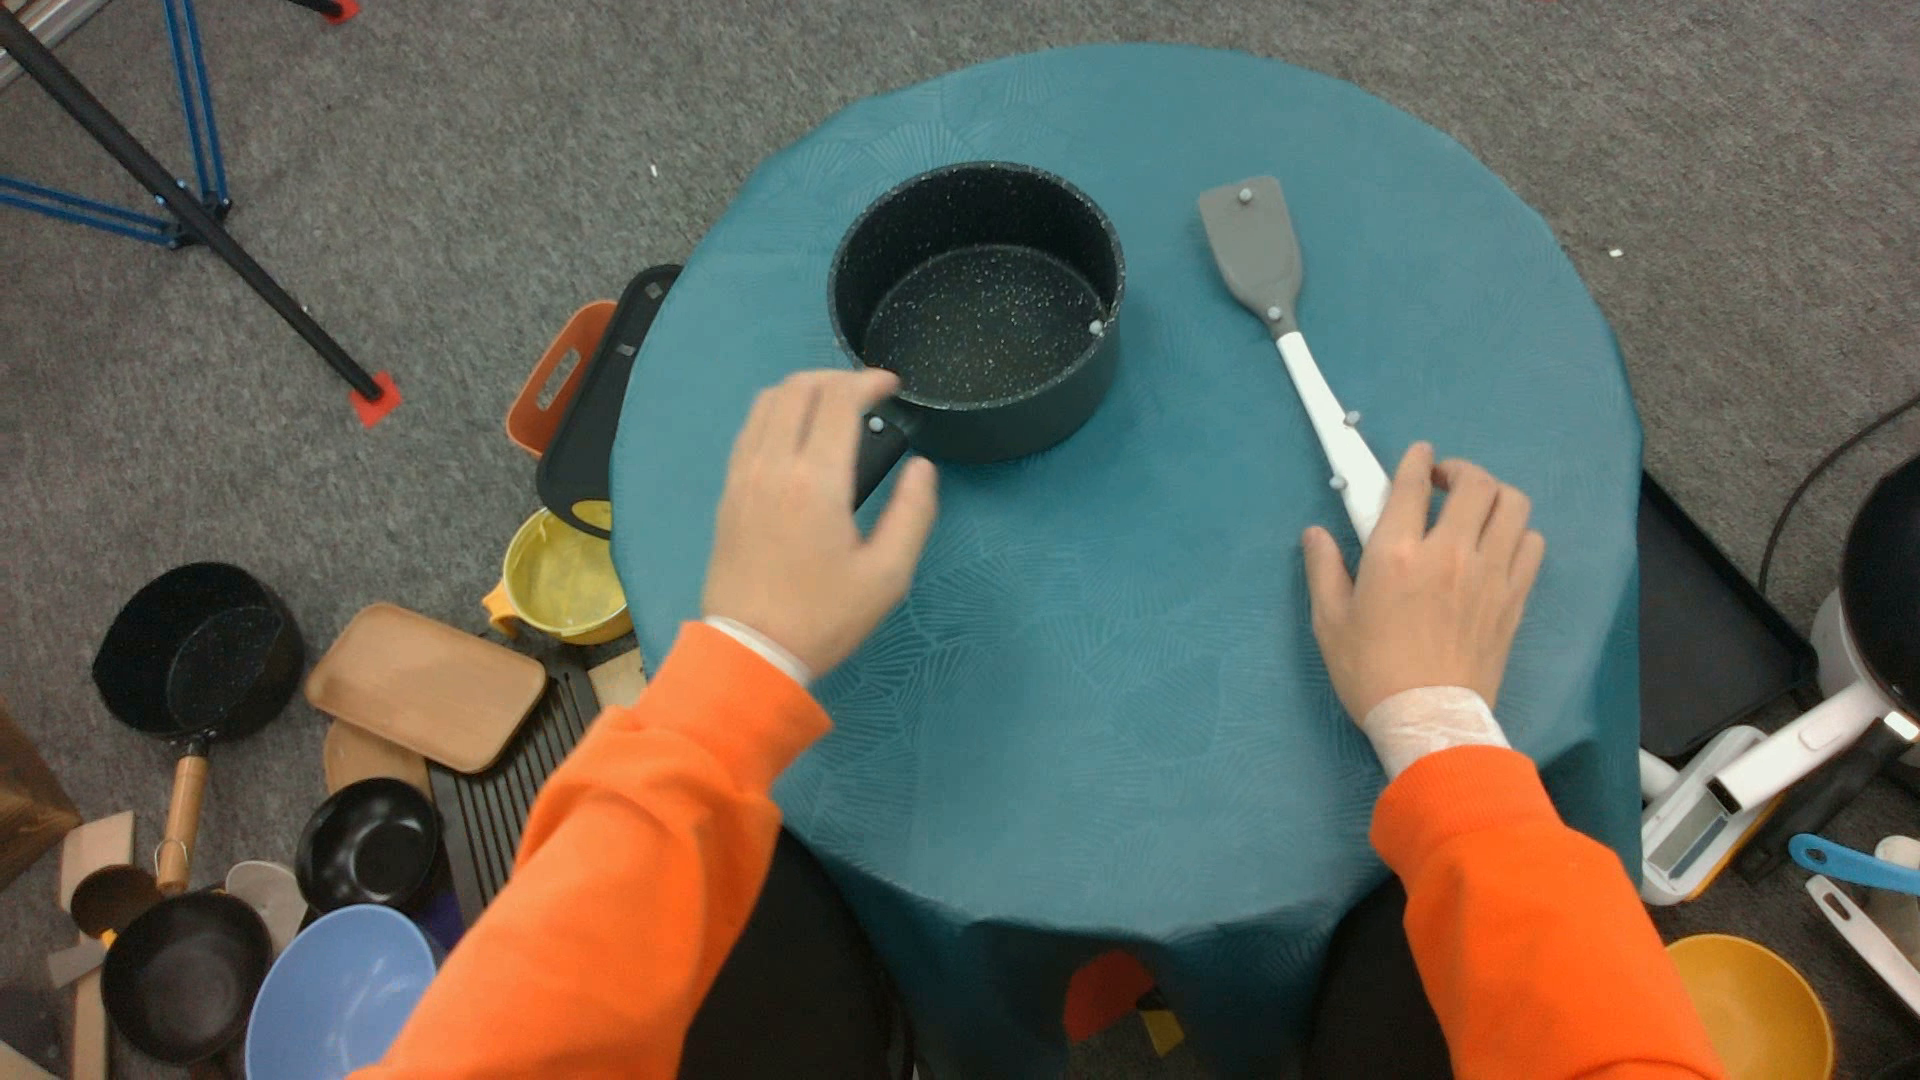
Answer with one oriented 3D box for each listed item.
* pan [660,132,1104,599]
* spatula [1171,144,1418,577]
[{"bbox_3d":[-0.045,-0.087,0.782,0.172,0.086,0.330,30,70,19],"label":"pan"},{"bbox_3d":[0.192,-0.112,0.798,0.058,0.032,0.288,-18,65,2],"label":"spatula"}]
